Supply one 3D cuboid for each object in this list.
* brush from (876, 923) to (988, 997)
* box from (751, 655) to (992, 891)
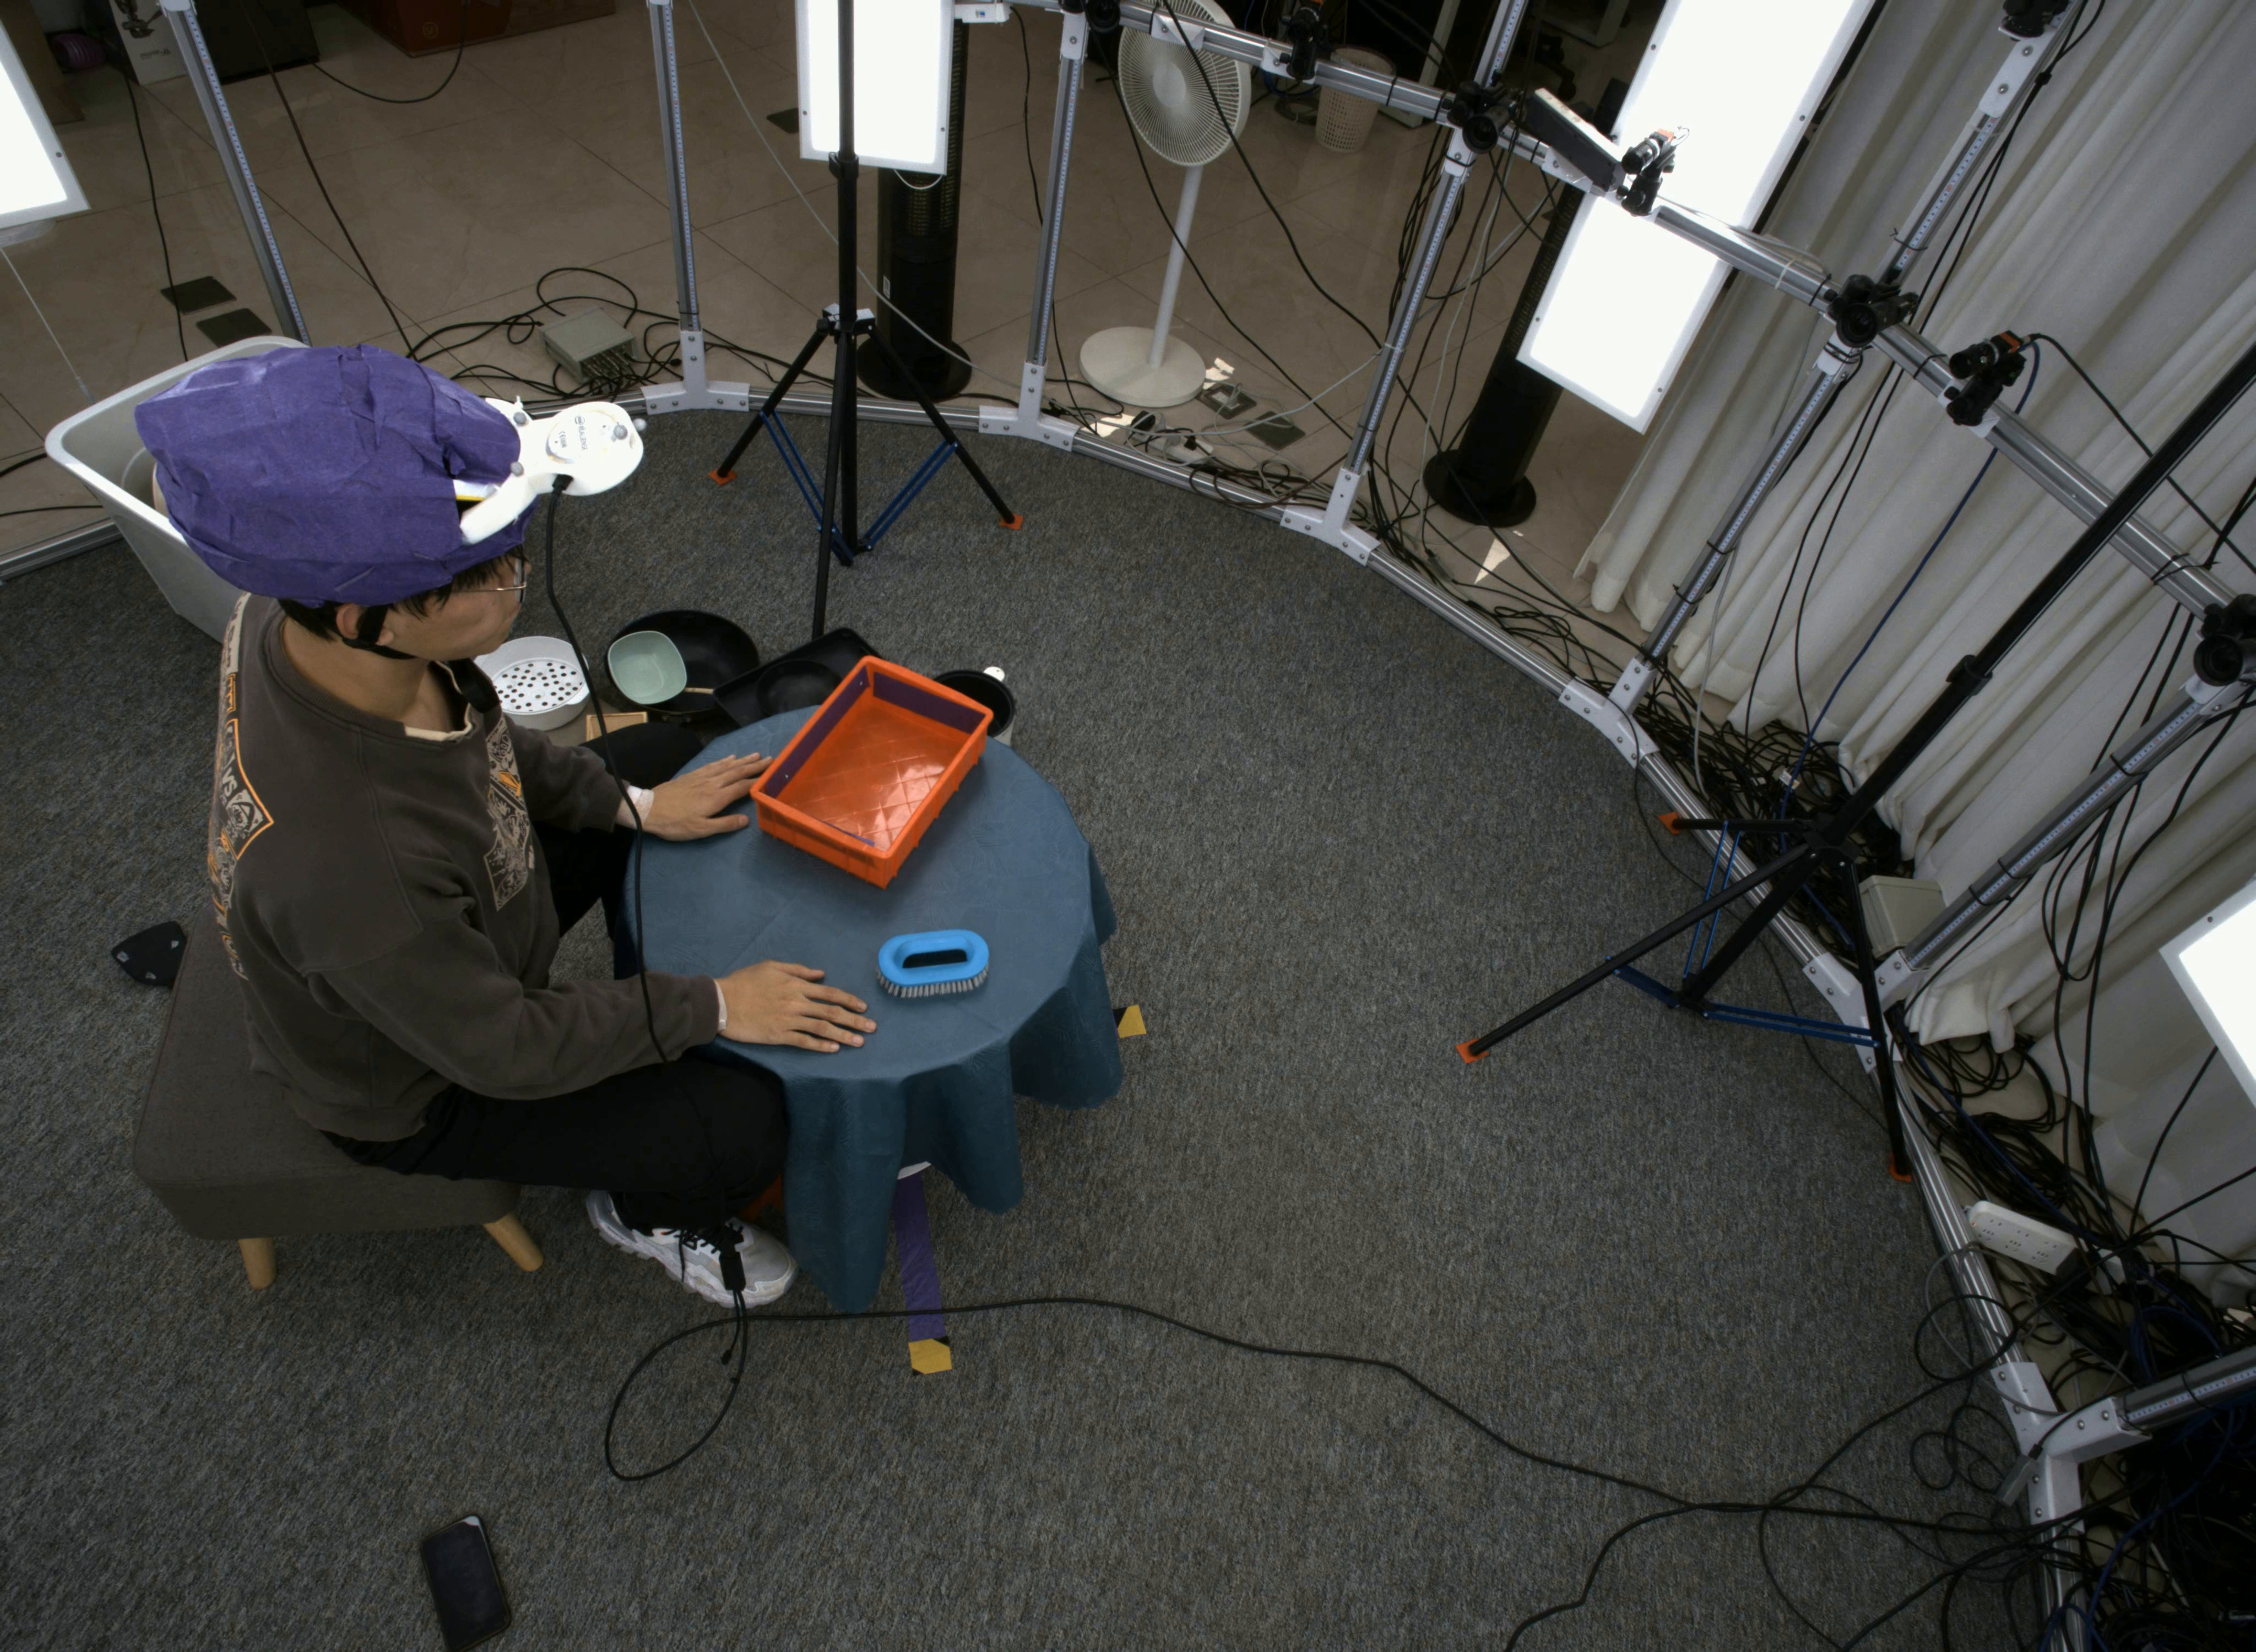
[{"bbox_3d":[-0.243,0.158,1.625,0.142,0.065,0.083,-4,60,-15],"label":"brush"},{"bbox_3d":[-0.340,-0.071,1.756,0.203,0.098,0.302,26,52,7],"label":"box"}]
